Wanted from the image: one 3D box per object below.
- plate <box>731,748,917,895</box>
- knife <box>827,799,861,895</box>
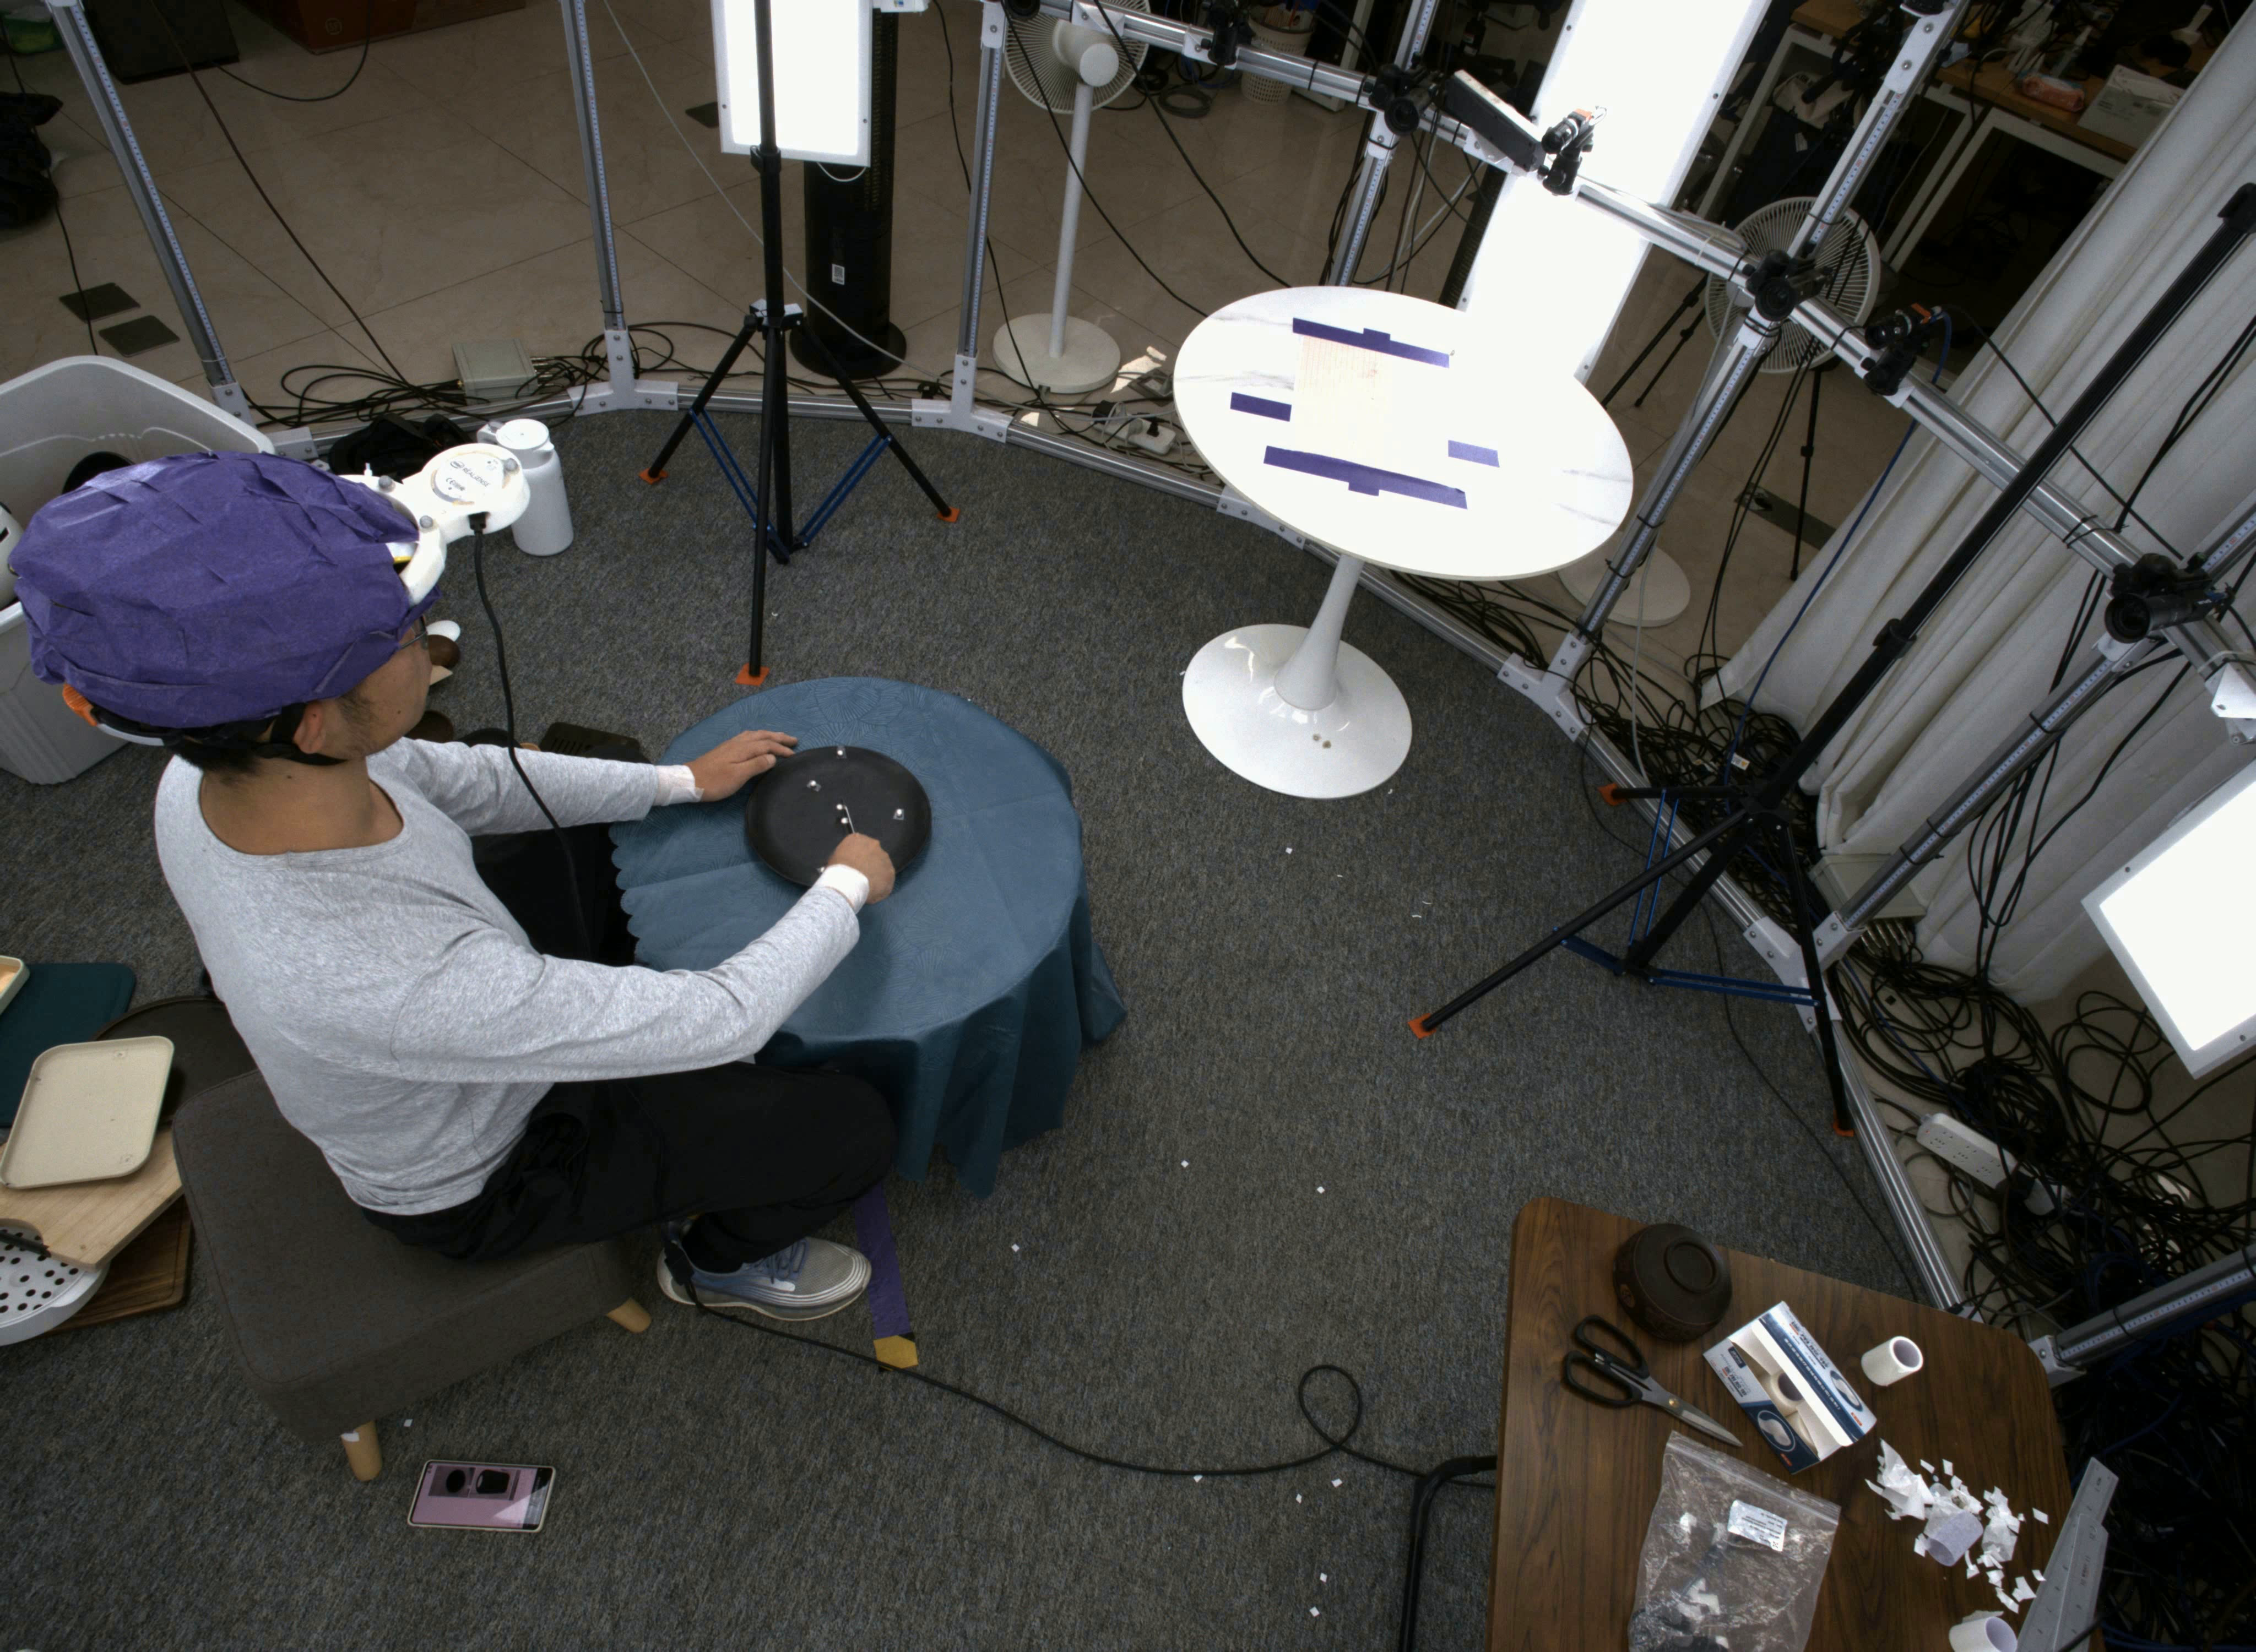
[{"bbox_3d":[-0.404,-0.005,1.730,0.244,0.024,0.240,8,53,-9],"label":"plate"},{"bbox_3d":[-0.367,0.017,1.654,0.016,0.025,0.230,-8,32,-19],"label":"knife"}]
